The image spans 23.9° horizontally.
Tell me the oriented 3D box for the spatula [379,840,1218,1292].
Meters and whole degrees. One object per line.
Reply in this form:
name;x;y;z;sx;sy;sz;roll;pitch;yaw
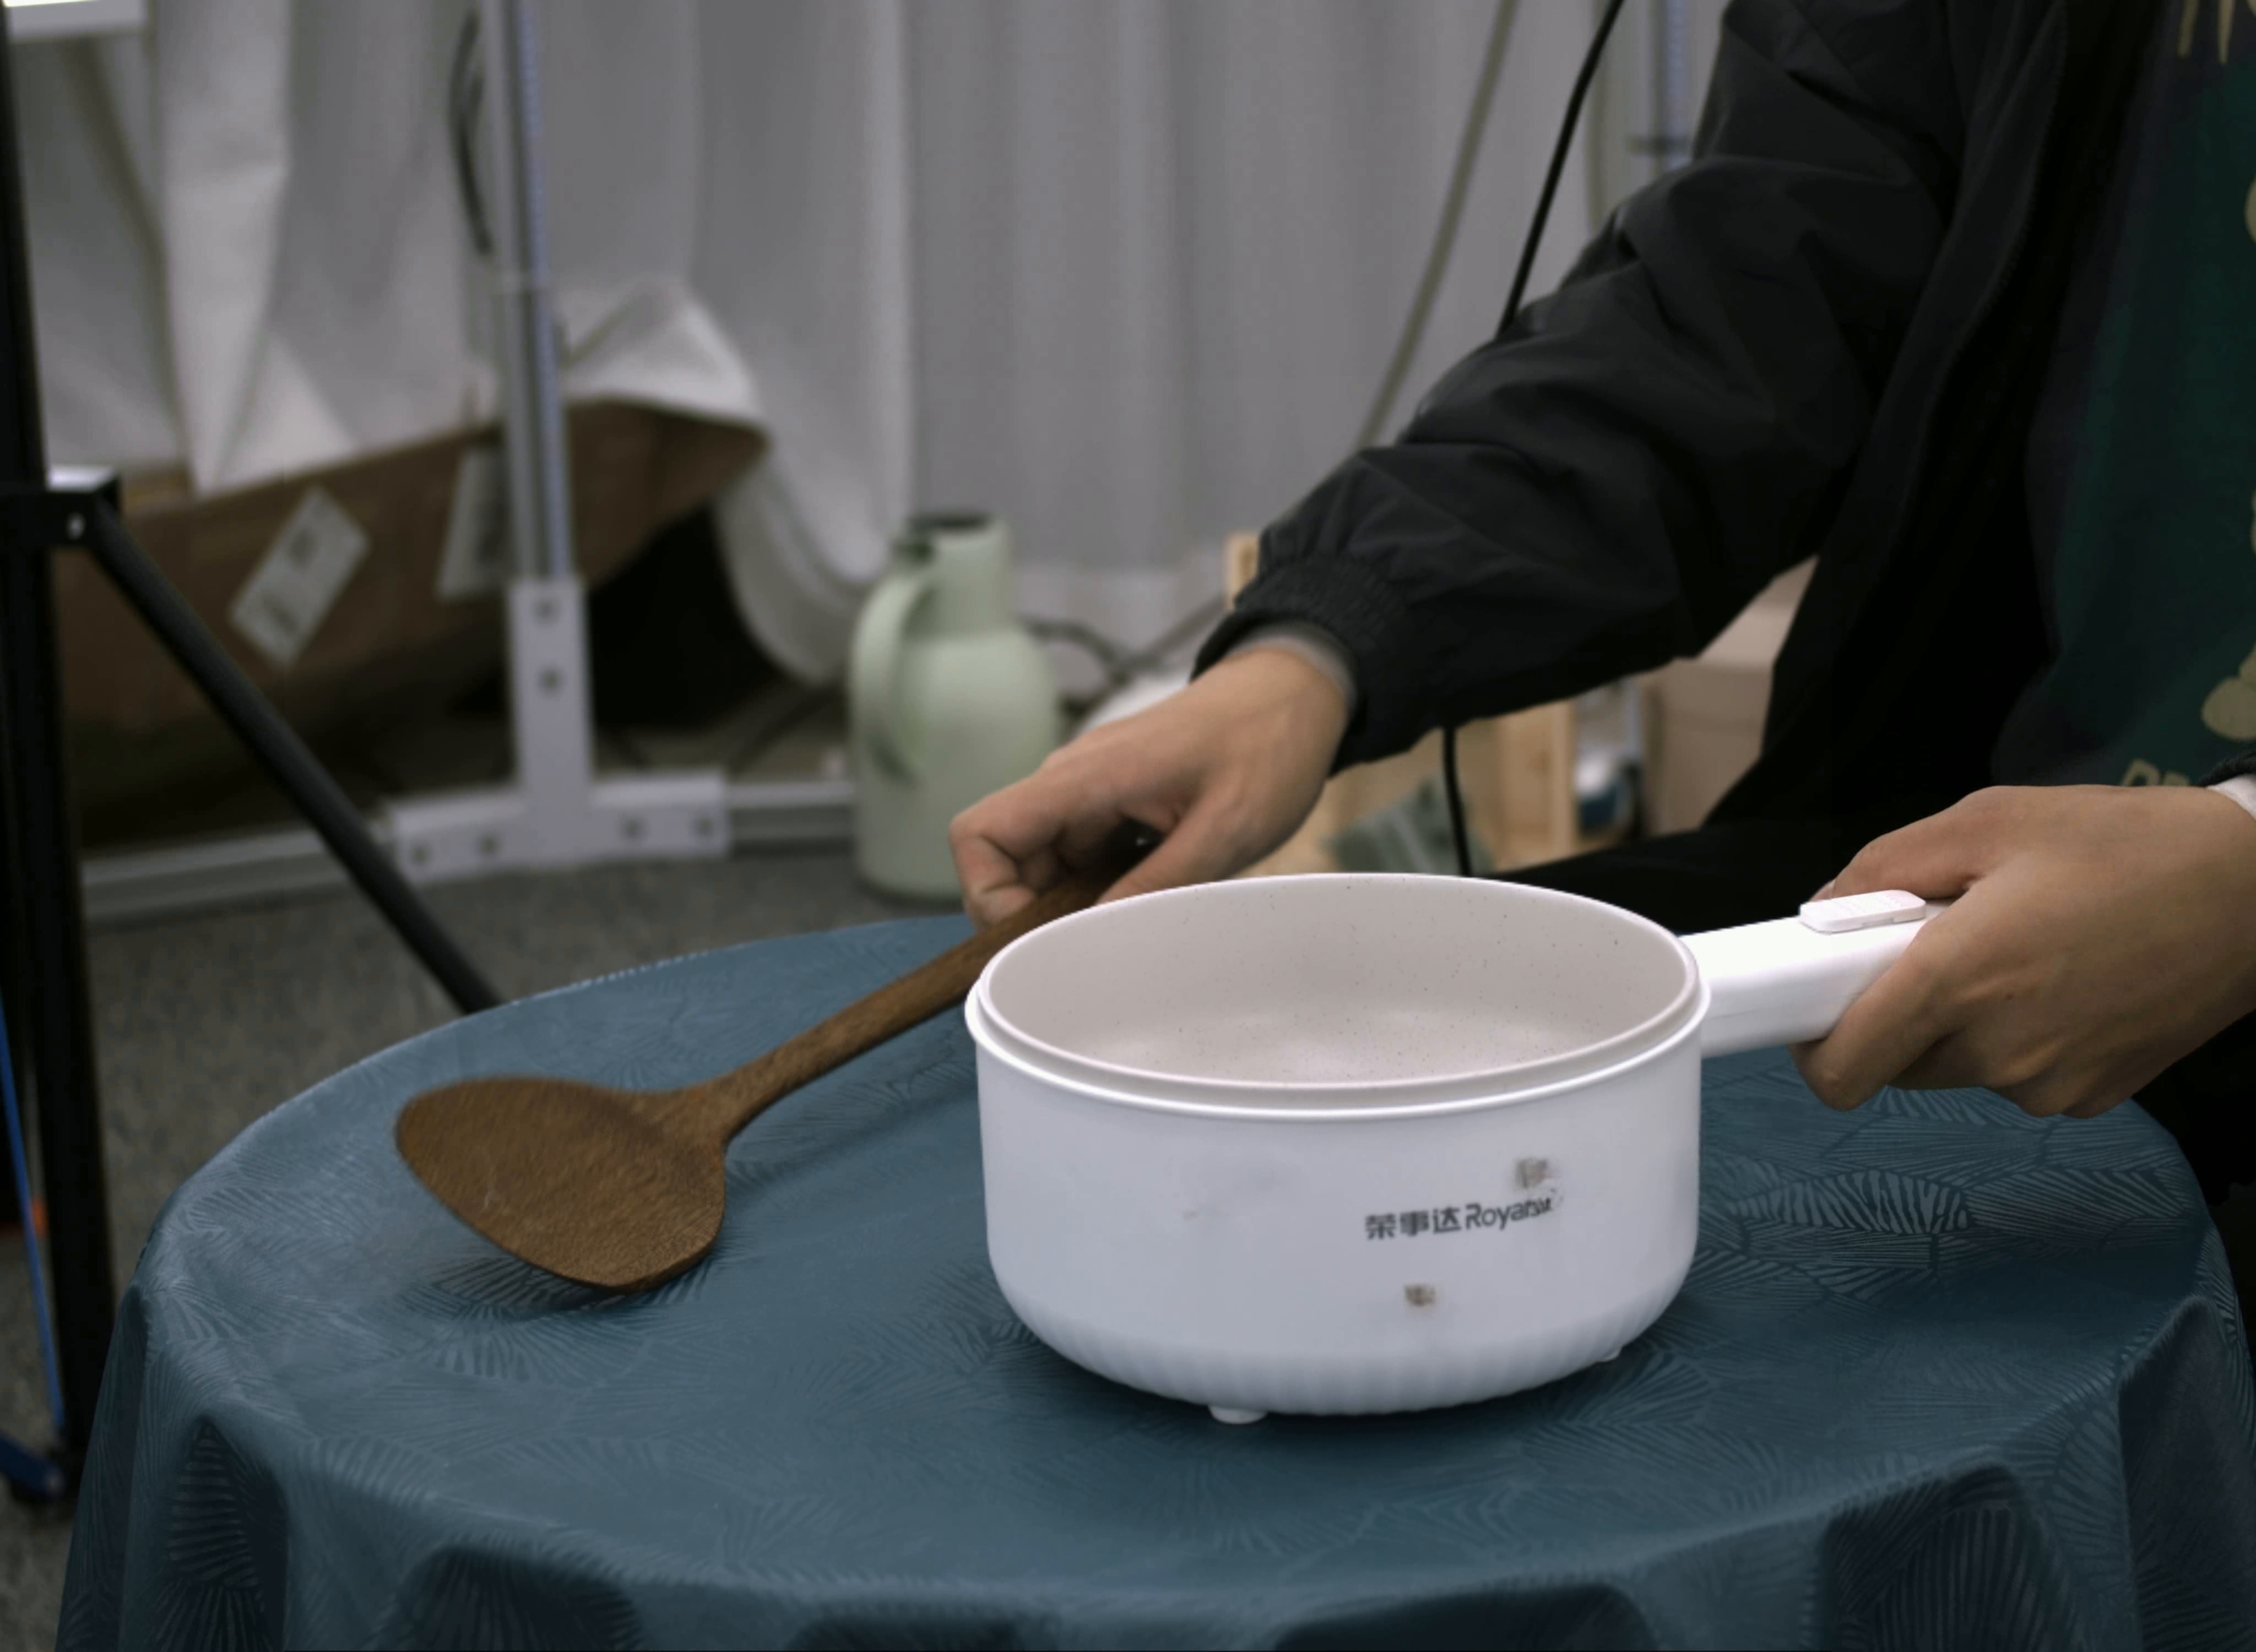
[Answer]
spatula;-0.081;0.062;1.641;0.098;0.016;0.378;30;32;24

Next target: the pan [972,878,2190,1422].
pan;0.130;0.081;1.460;0.348;0.102;0.204;-6;15;-18
